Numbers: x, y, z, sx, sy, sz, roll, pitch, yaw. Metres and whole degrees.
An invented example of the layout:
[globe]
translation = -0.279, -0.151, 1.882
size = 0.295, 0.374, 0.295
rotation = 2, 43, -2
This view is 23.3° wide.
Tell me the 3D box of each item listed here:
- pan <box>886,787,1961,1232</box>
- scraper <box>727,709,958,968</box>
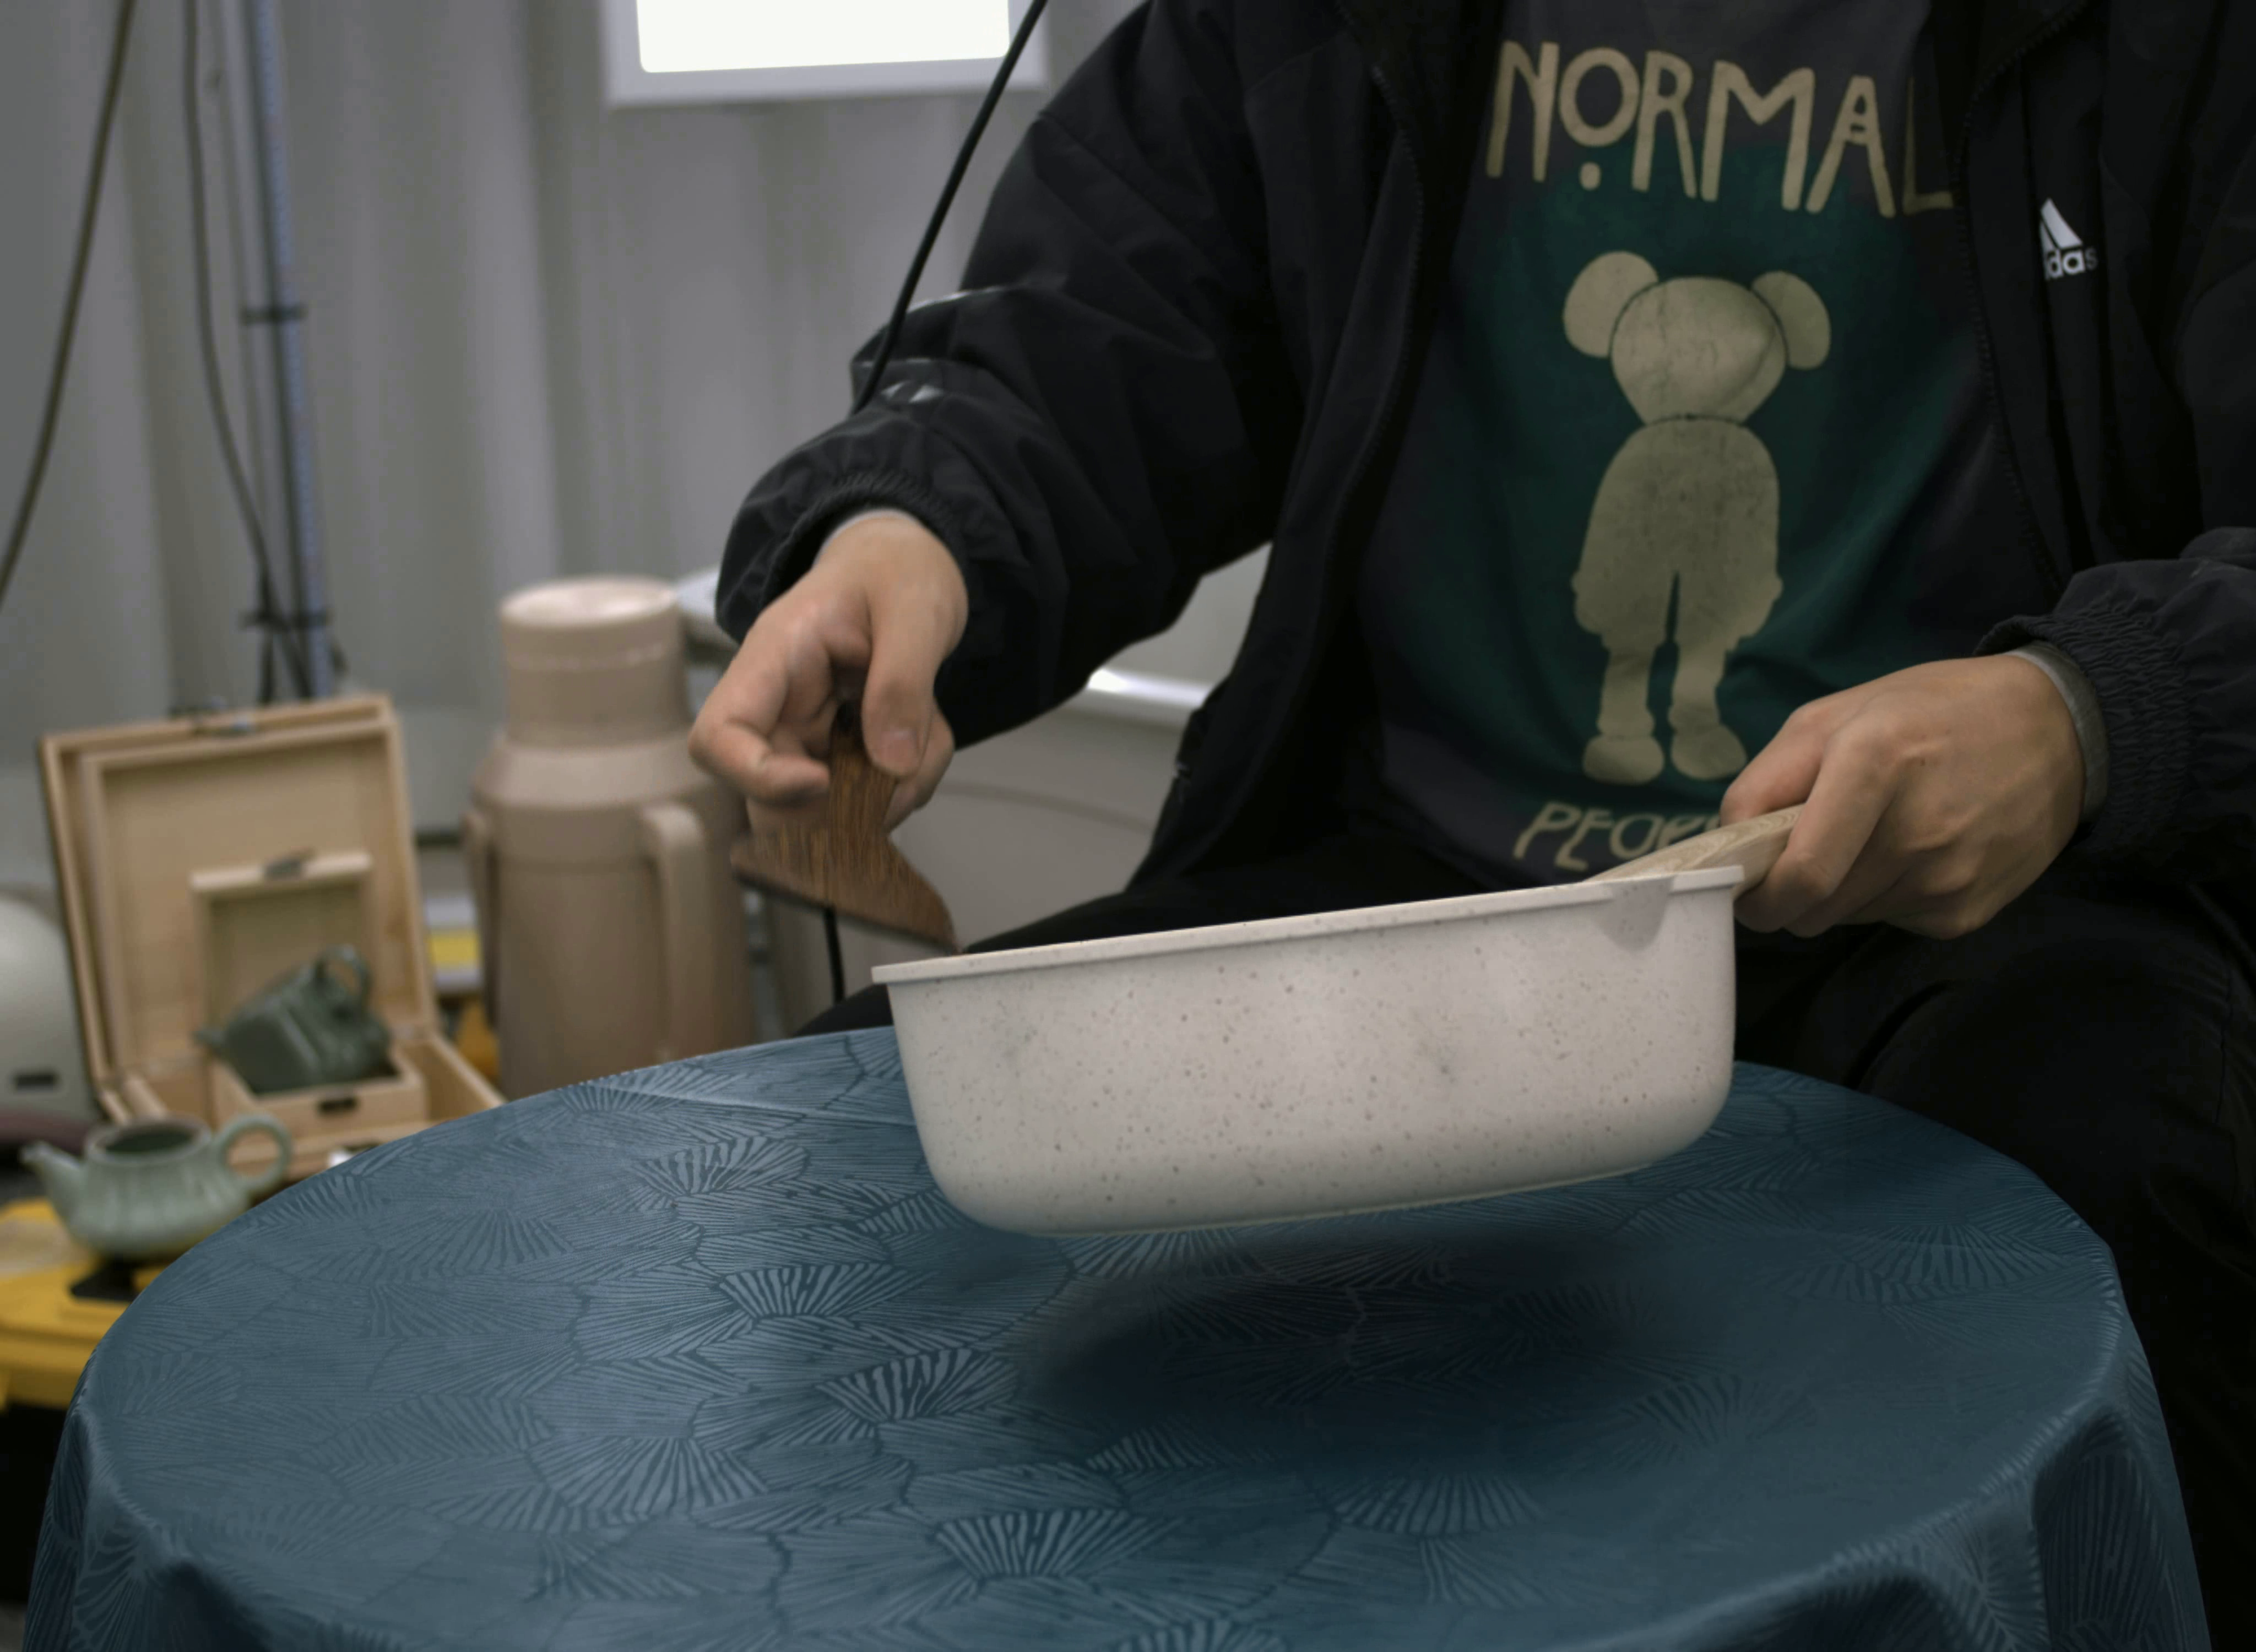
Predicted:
[pan]
translation = 0.122, 0.051, 1.624
size = 0.263, 0.102, 0.432
rotation = -10, -3, 44
[scraper]
translation = -0.088, 0.000, 1.764
size = 0.075, 0.011, 0.213
rotation = 20, 18, -6
